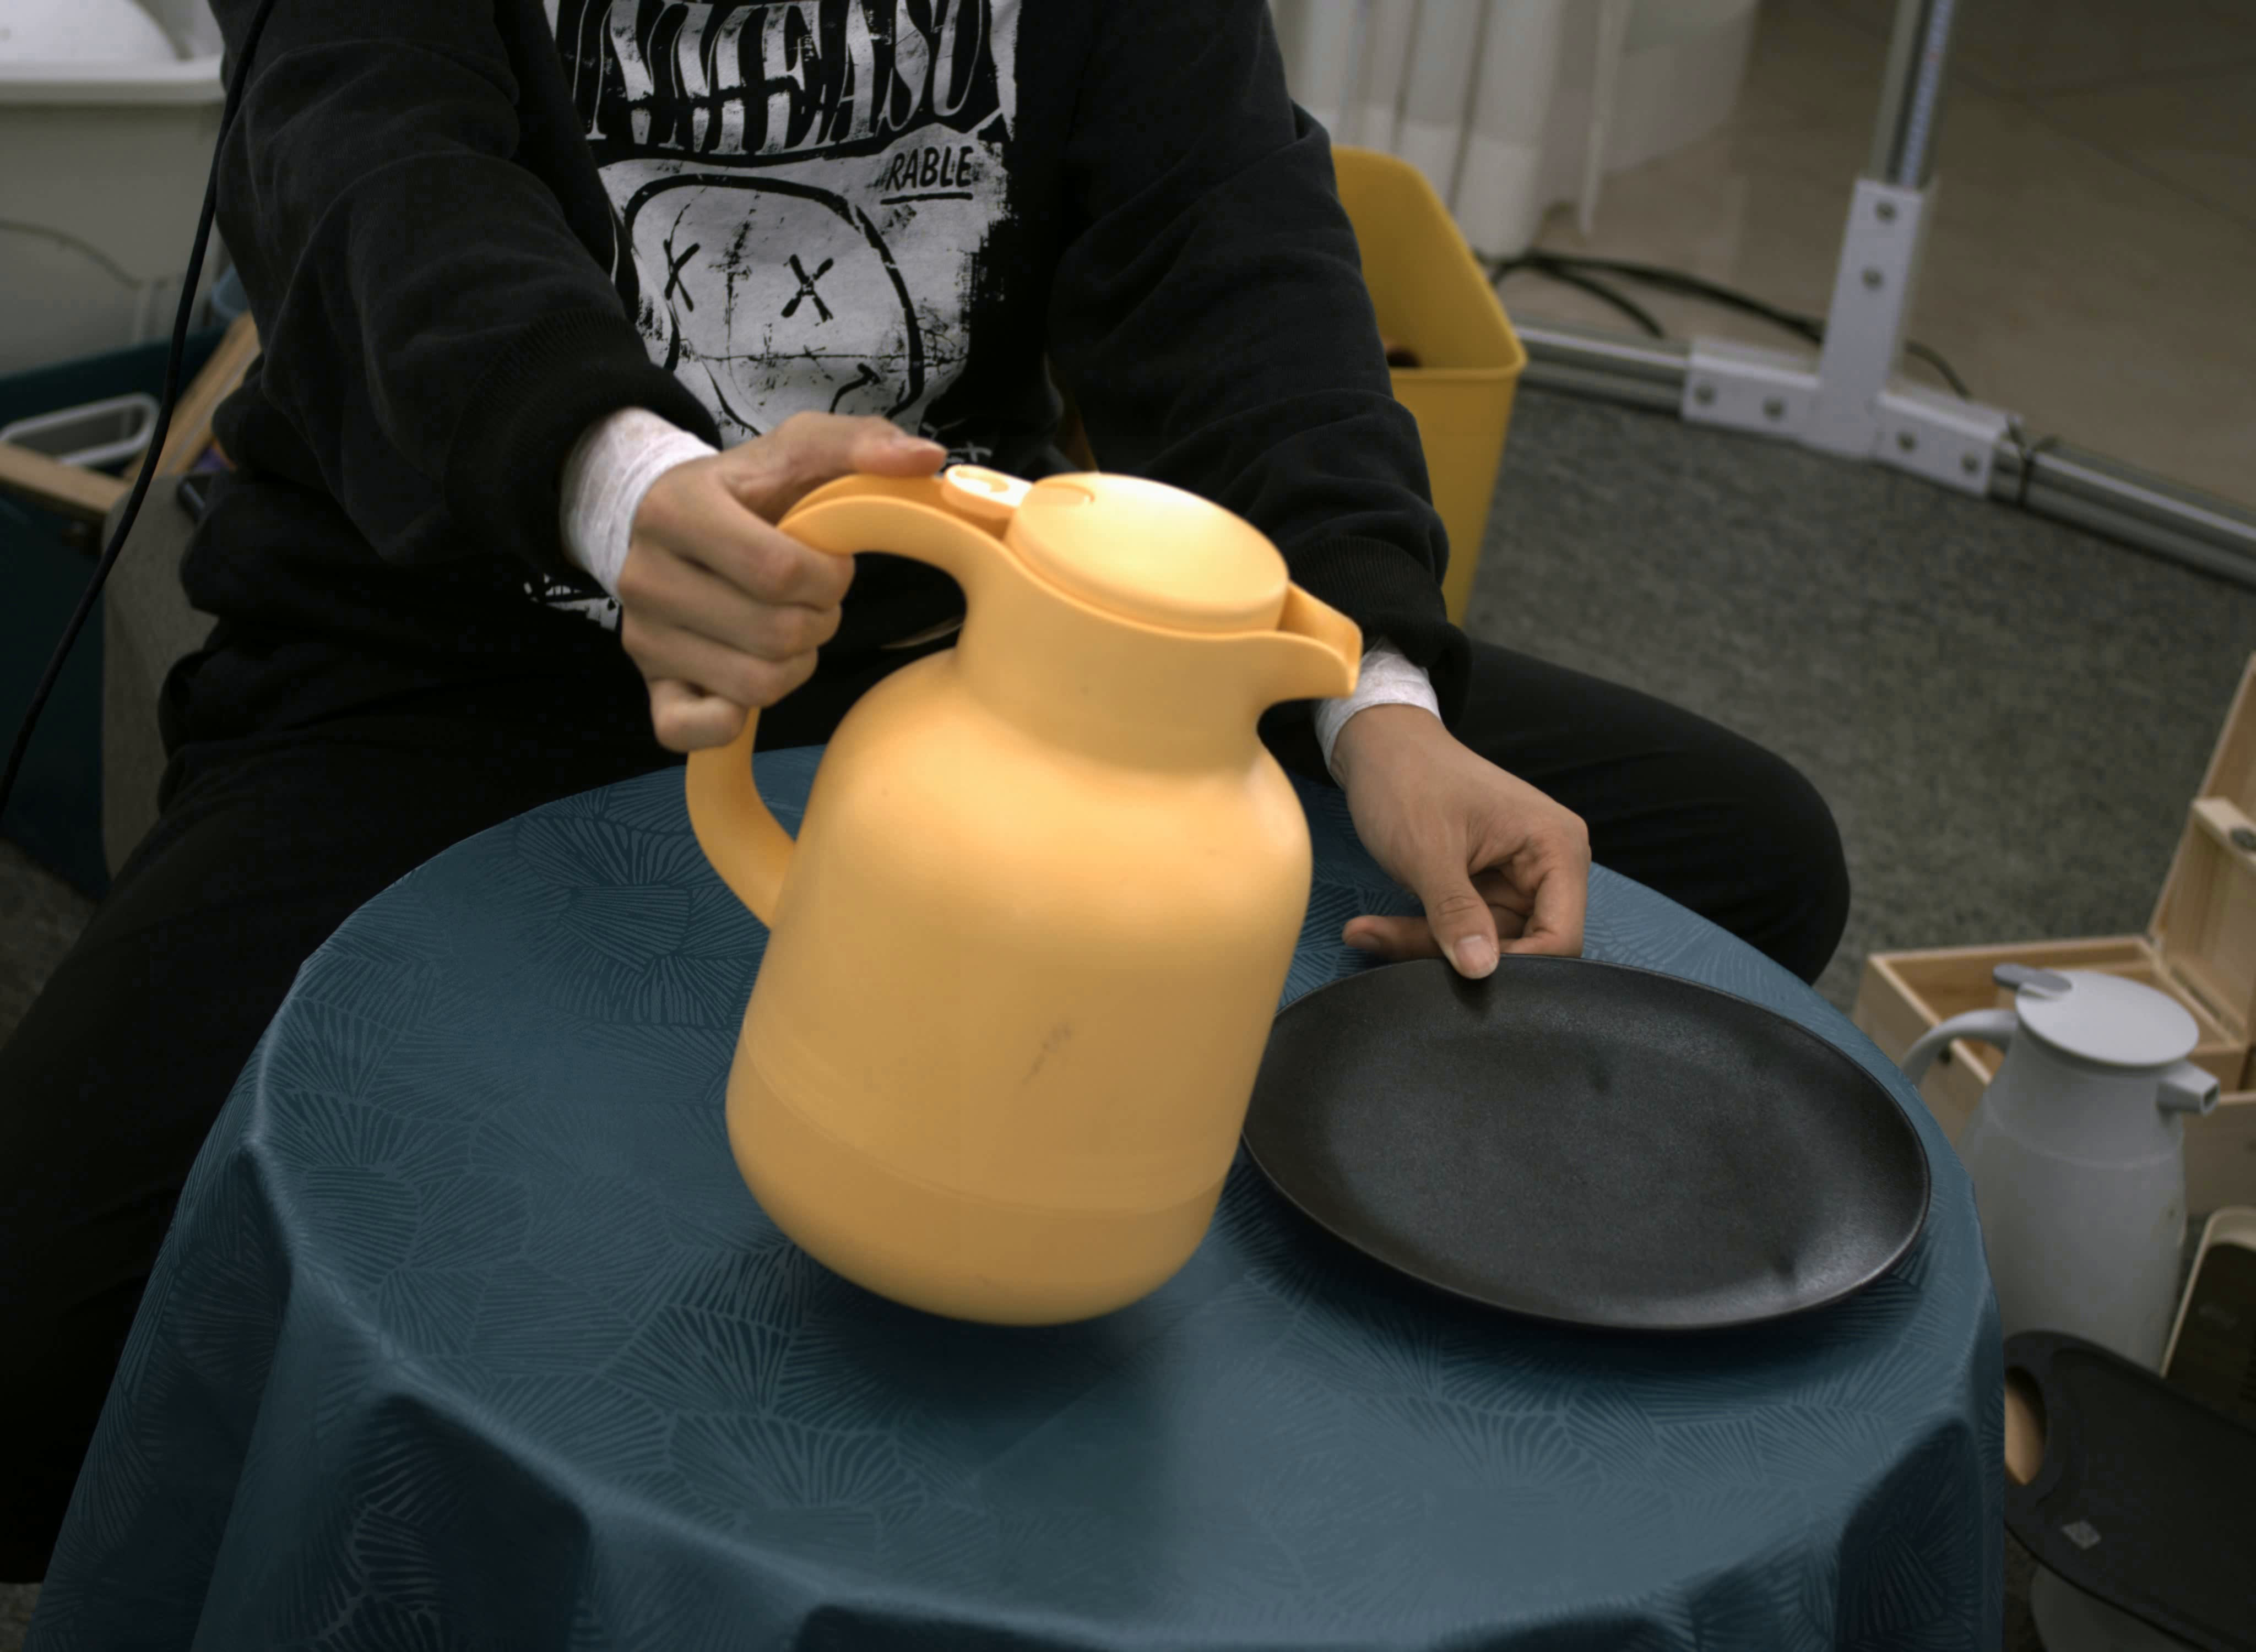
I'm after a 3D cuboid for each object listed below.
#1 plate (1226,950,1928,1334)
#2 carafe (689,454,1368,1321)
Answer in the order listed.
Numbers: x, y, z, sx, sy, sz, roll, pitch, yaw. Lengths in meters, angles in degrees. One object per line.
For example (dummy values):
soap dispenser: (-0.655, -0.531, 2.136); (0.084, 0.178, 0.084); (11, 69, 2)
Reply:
plate: (0.153, 0.113, 1.831); (0.243, 0.023, 0.246); (5, 28, -3)
carafe: (-0.044, 0.008, 1.677); (0.202, 0.260, 0.163); (22, 23, 7)
